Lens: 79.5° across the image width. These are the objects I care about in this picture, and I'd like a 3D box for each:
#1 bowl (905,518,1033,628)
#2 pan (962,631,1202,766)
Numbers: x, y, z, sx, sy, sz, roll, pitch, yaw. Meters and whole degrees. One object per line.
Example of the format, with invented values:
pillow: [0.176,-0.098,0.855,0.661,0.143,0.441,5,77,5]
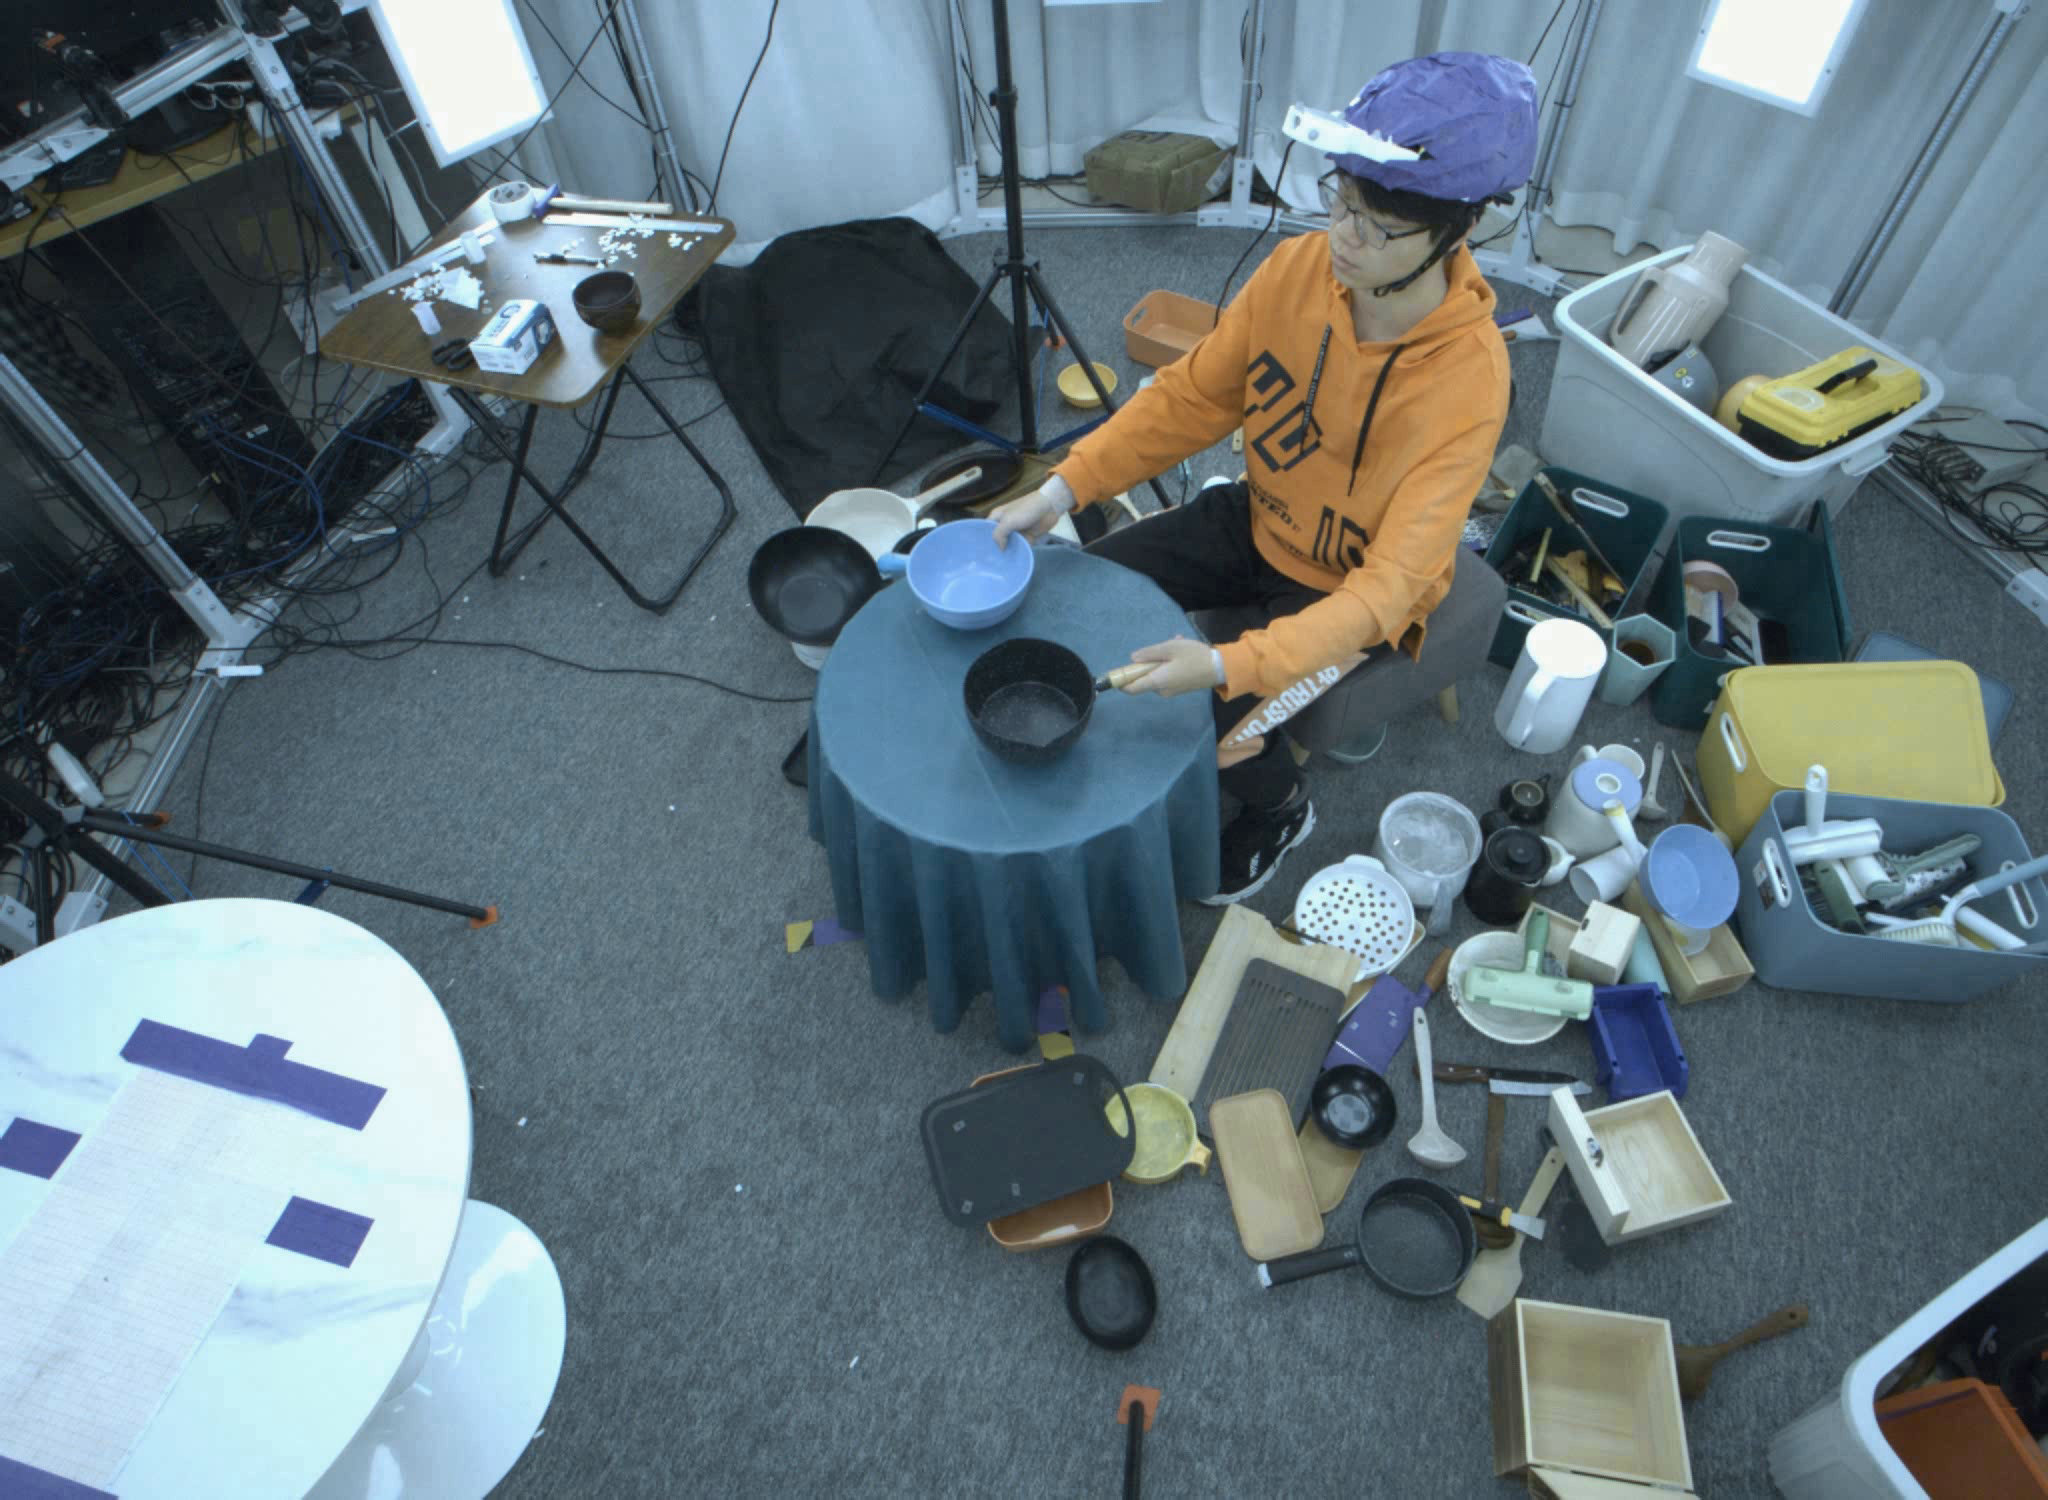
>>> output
bowl: [-0.082,-0.260,1.906,0.196,0.096,0.194,-1,56,3]
pan: [0.083,-0.085,1.747,0.345,0.109,0.204,-12,56,-8]
